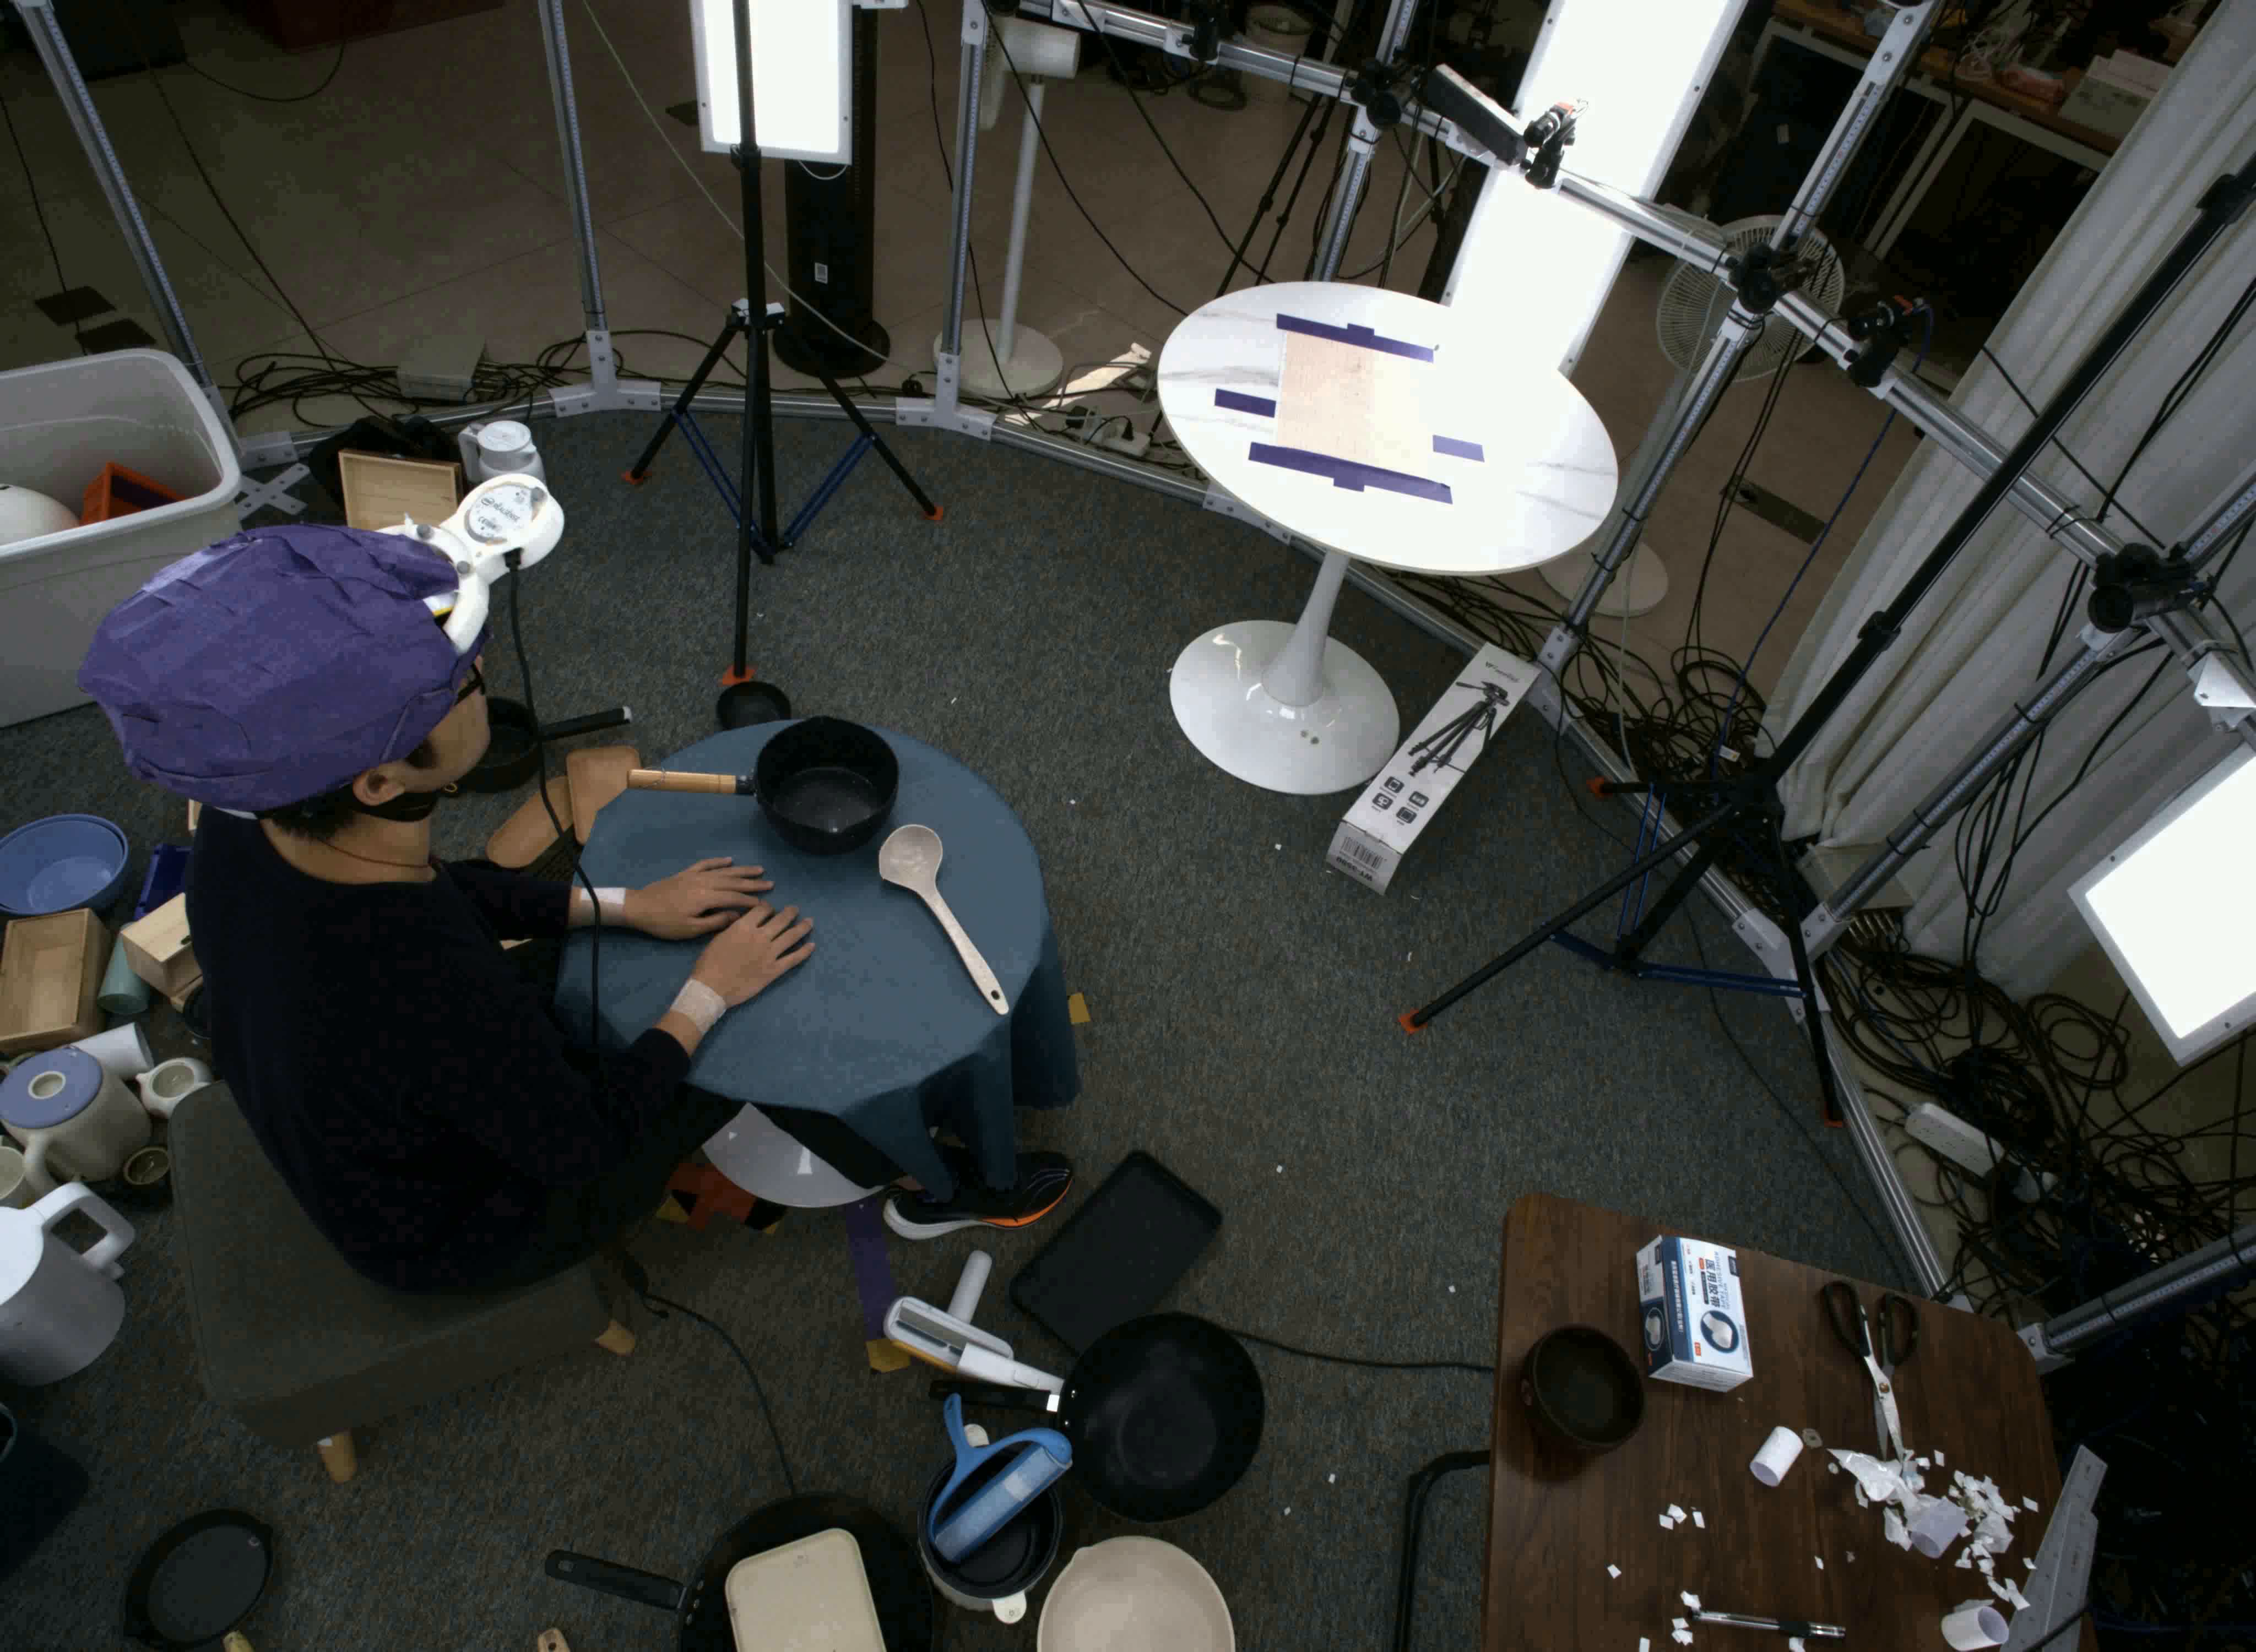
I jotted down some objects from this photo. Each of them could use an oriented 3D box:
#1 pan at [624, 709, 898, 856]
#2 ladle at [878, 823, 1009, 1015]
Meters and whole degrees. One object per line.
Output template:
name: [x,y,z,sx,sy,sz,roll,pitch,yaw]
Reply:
pan: [-0.470,-0.047,1.667,0.344,0.110,0.203,-5,56,-20]
ladle: [-0.222,0.112,1.639,0.090,0.070,0.268,-23,62,-33]
